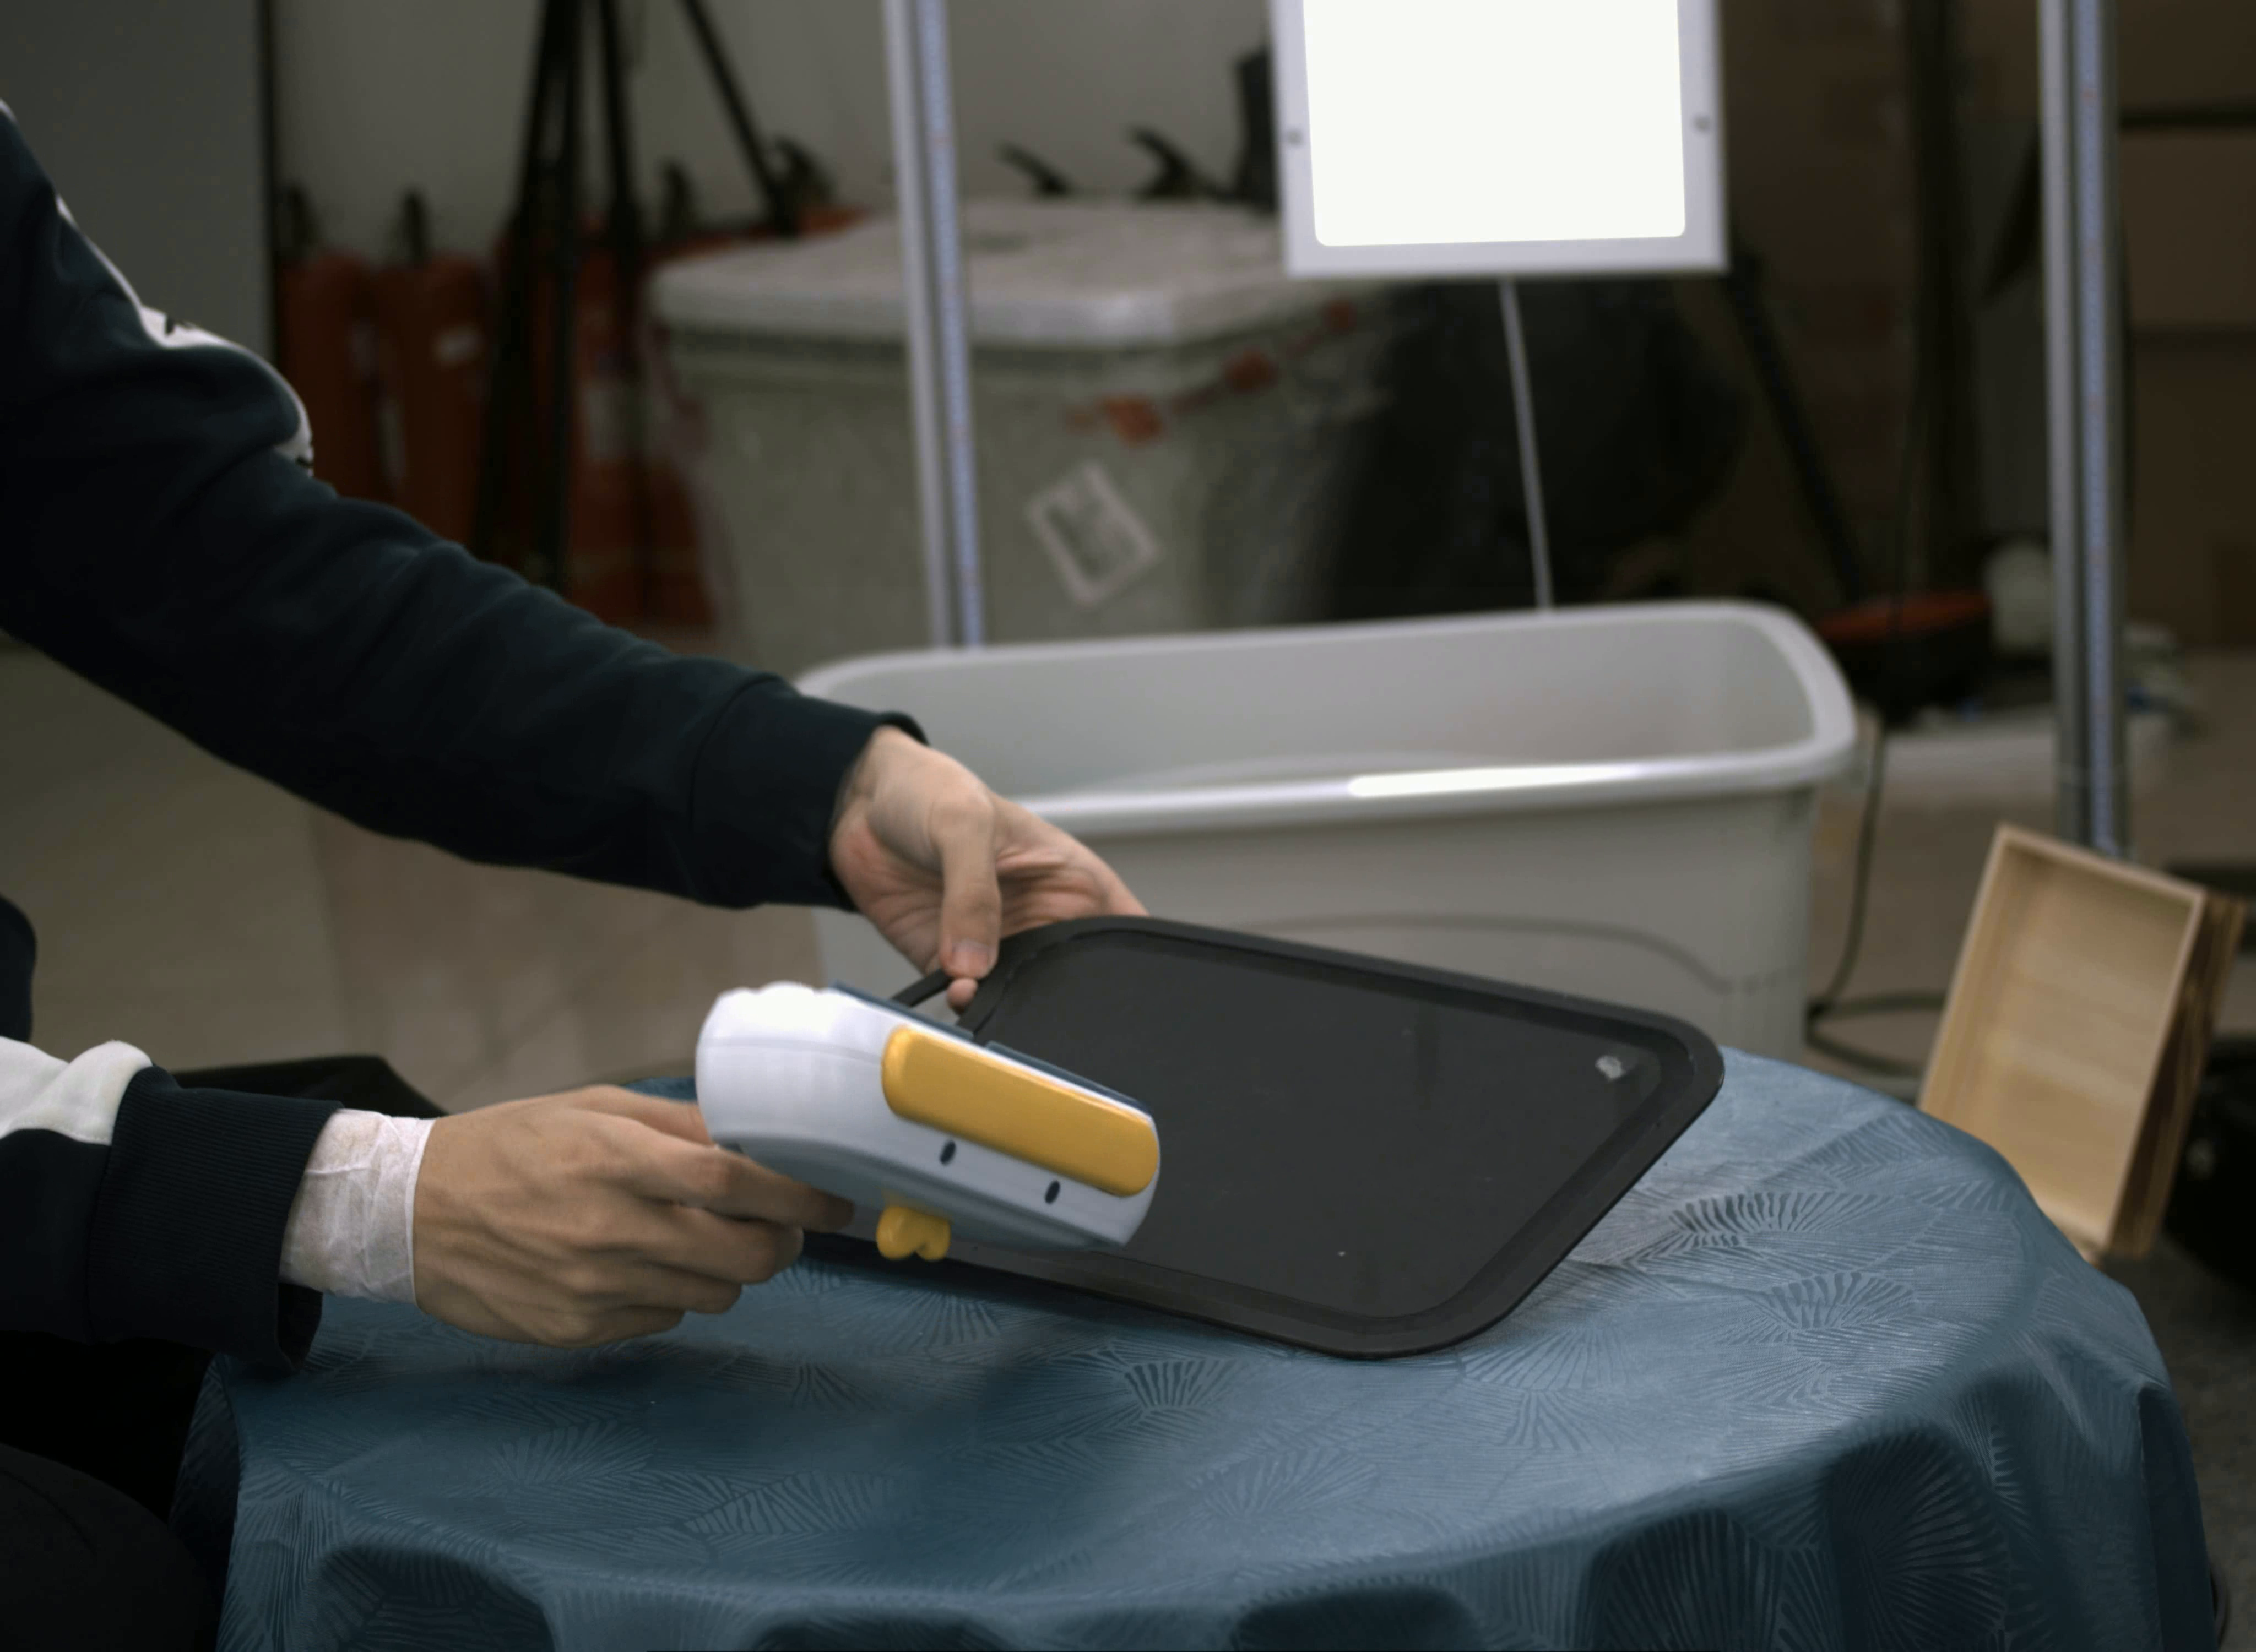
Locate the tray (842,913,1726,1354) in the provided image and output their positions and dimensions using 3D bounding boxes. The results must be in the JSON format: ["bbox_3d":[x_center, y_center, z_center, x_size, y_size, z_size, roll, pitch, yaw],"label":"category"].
[{"bbox_3d":[0.026,0.096,1.852,0.332,0.010,0.206,9,36,37],"label":"tray"}]

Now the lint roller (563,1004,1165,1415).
[{"bbox_3d":[-0.106,0.126,1.726,0.196,0.074,0.188,-27,-26,33],"label":"lint roller"}]
